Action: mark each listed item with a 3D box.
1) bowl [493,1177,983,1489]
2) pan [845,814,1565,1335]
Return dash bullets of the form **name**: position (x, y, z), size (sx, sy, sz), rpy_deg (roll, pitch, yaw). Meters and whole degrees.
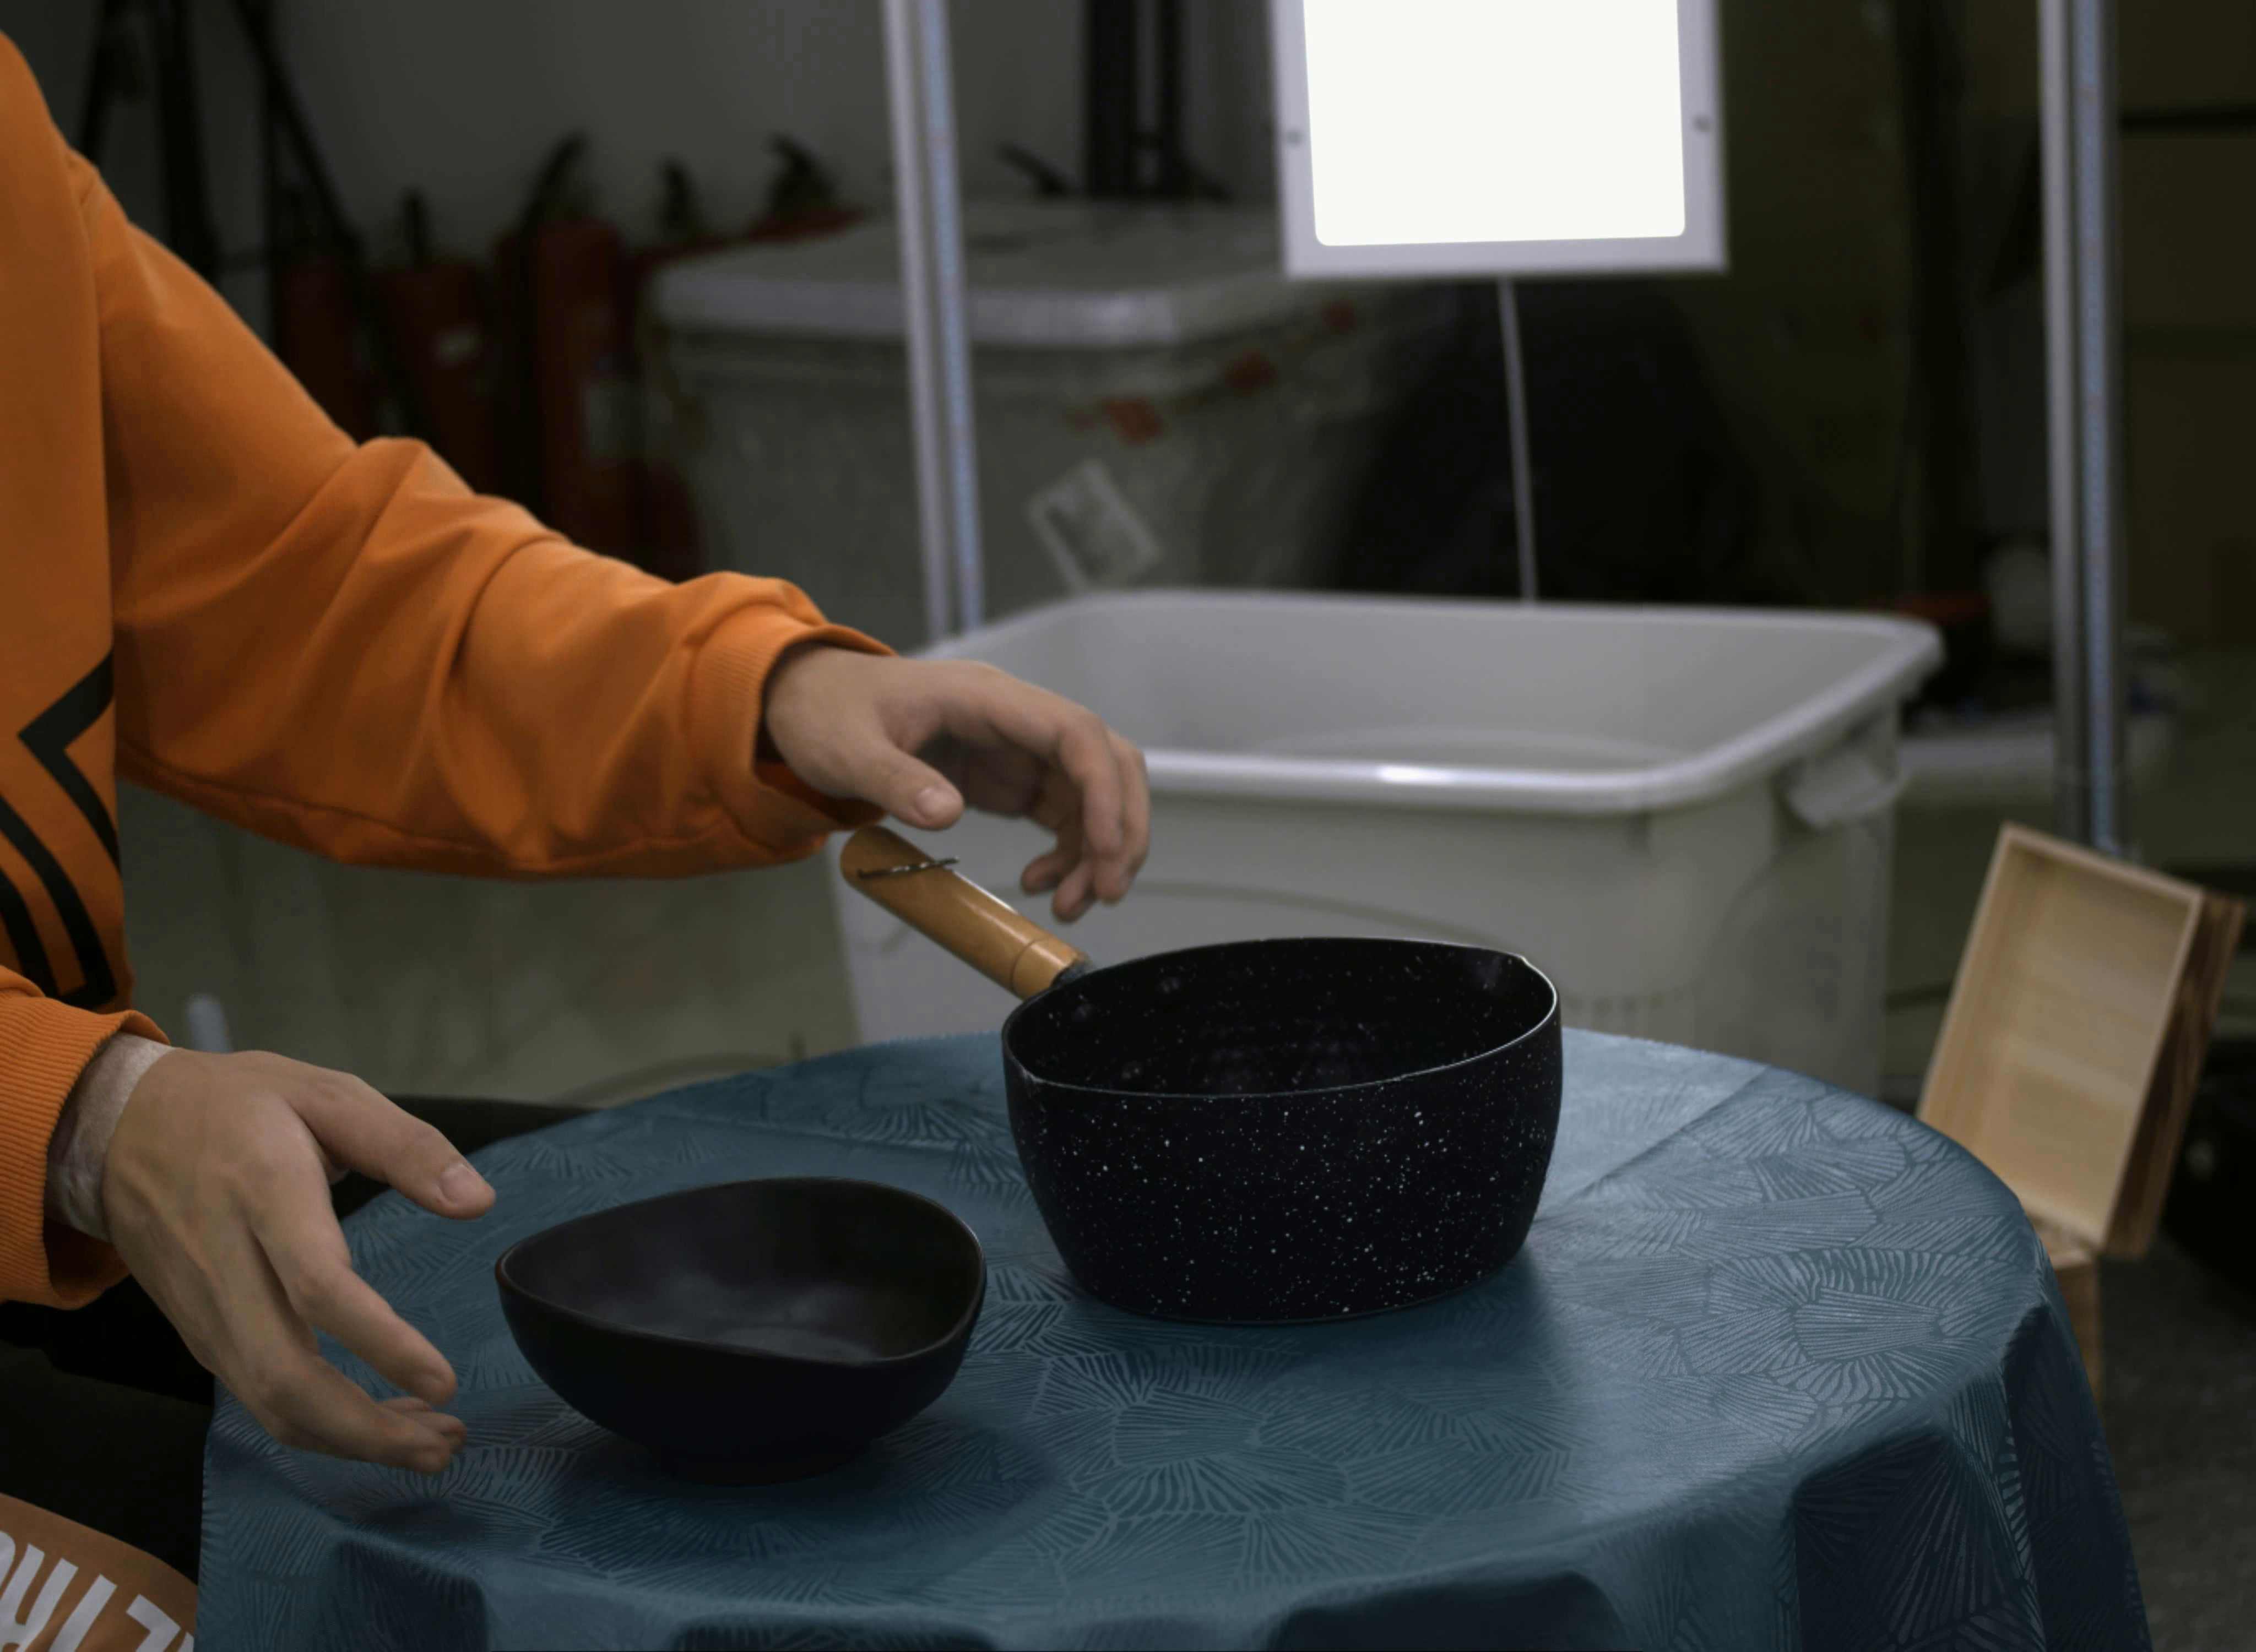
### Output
- **bowl**: position (-0.115, 0.159, 1.677), size (0.134, 0.067, 0.174), rpy_deg (-17, 20, -40)
- **pan**: position (0.005, 0.077, 1.868), size (0.202, 0.108, 0.349), rpy_deg (-16, 19, -33)
